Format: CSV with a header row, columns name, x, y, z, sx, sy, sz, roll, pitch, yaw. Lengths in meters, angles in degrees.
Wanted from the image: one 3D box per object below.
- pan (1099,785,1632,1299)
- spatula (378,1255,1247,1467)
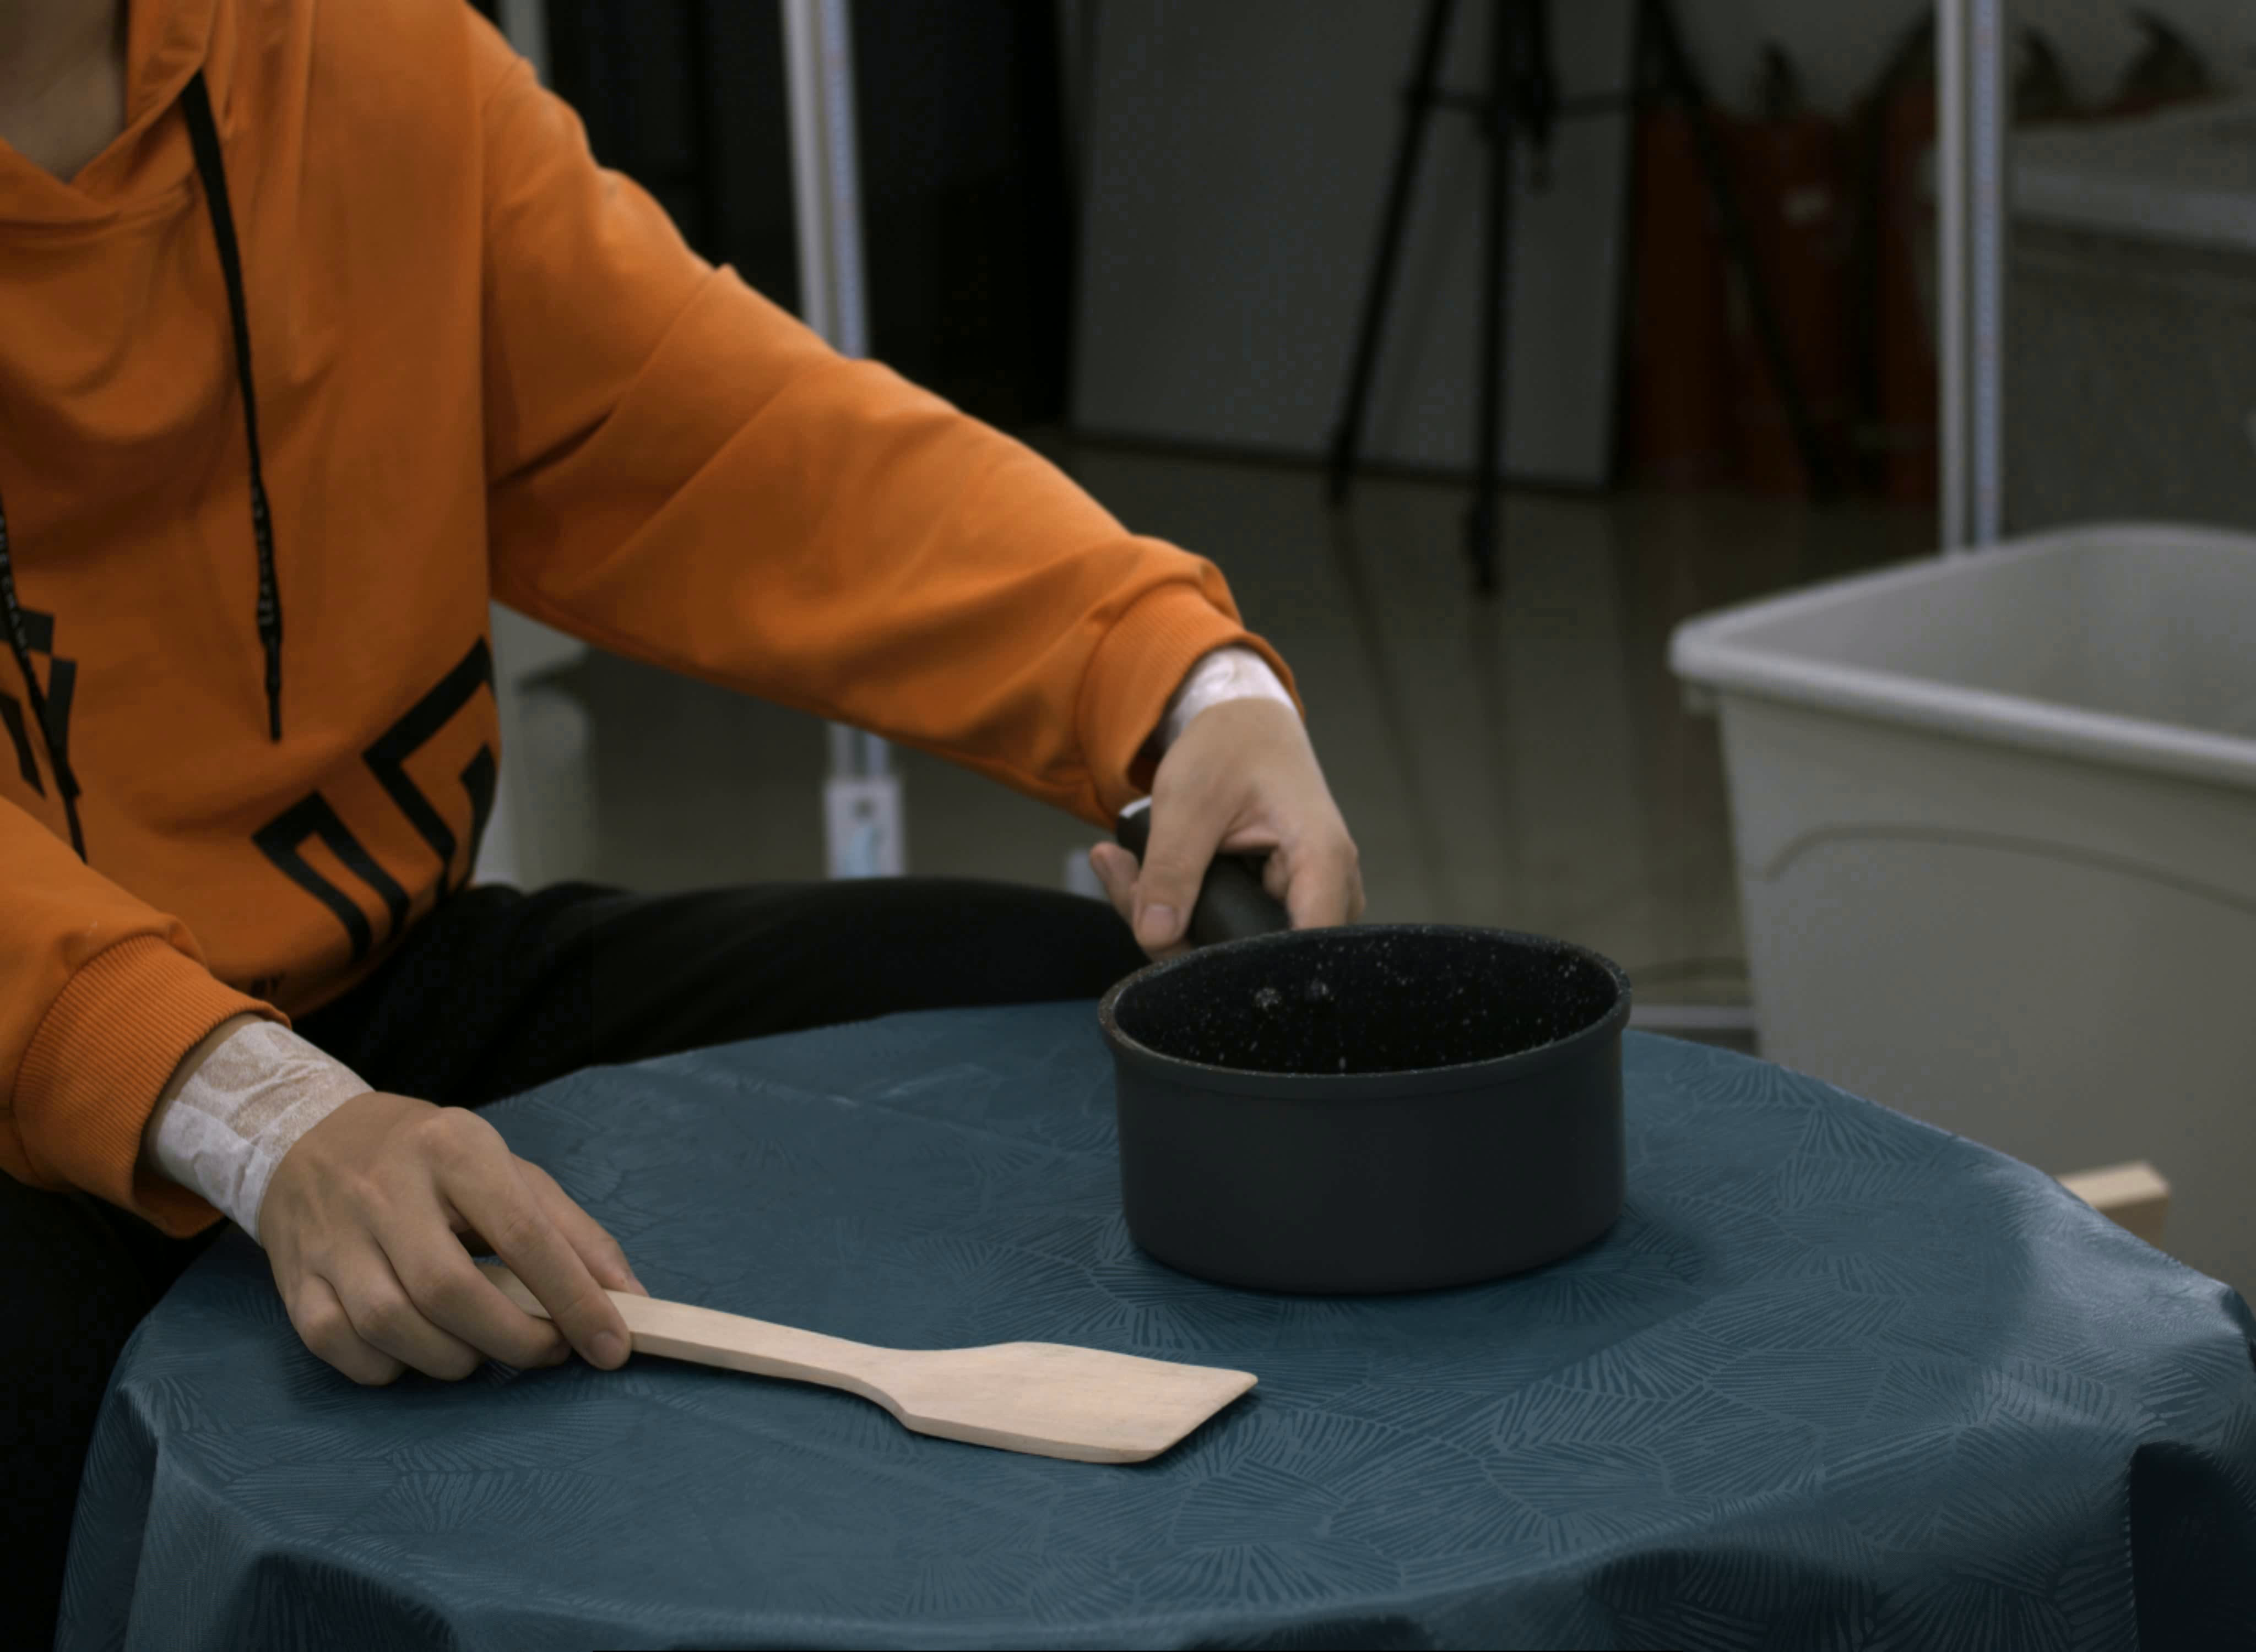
name,x,y,z,sx,sy,sz,roll,pitch,yaw
pan,0.059,0.068,1.791,0.169,0.087,0.331,-6,16,-11
spatula,-0.105,0.157,1.621,0.294,0.011,0.071,7,20,30
